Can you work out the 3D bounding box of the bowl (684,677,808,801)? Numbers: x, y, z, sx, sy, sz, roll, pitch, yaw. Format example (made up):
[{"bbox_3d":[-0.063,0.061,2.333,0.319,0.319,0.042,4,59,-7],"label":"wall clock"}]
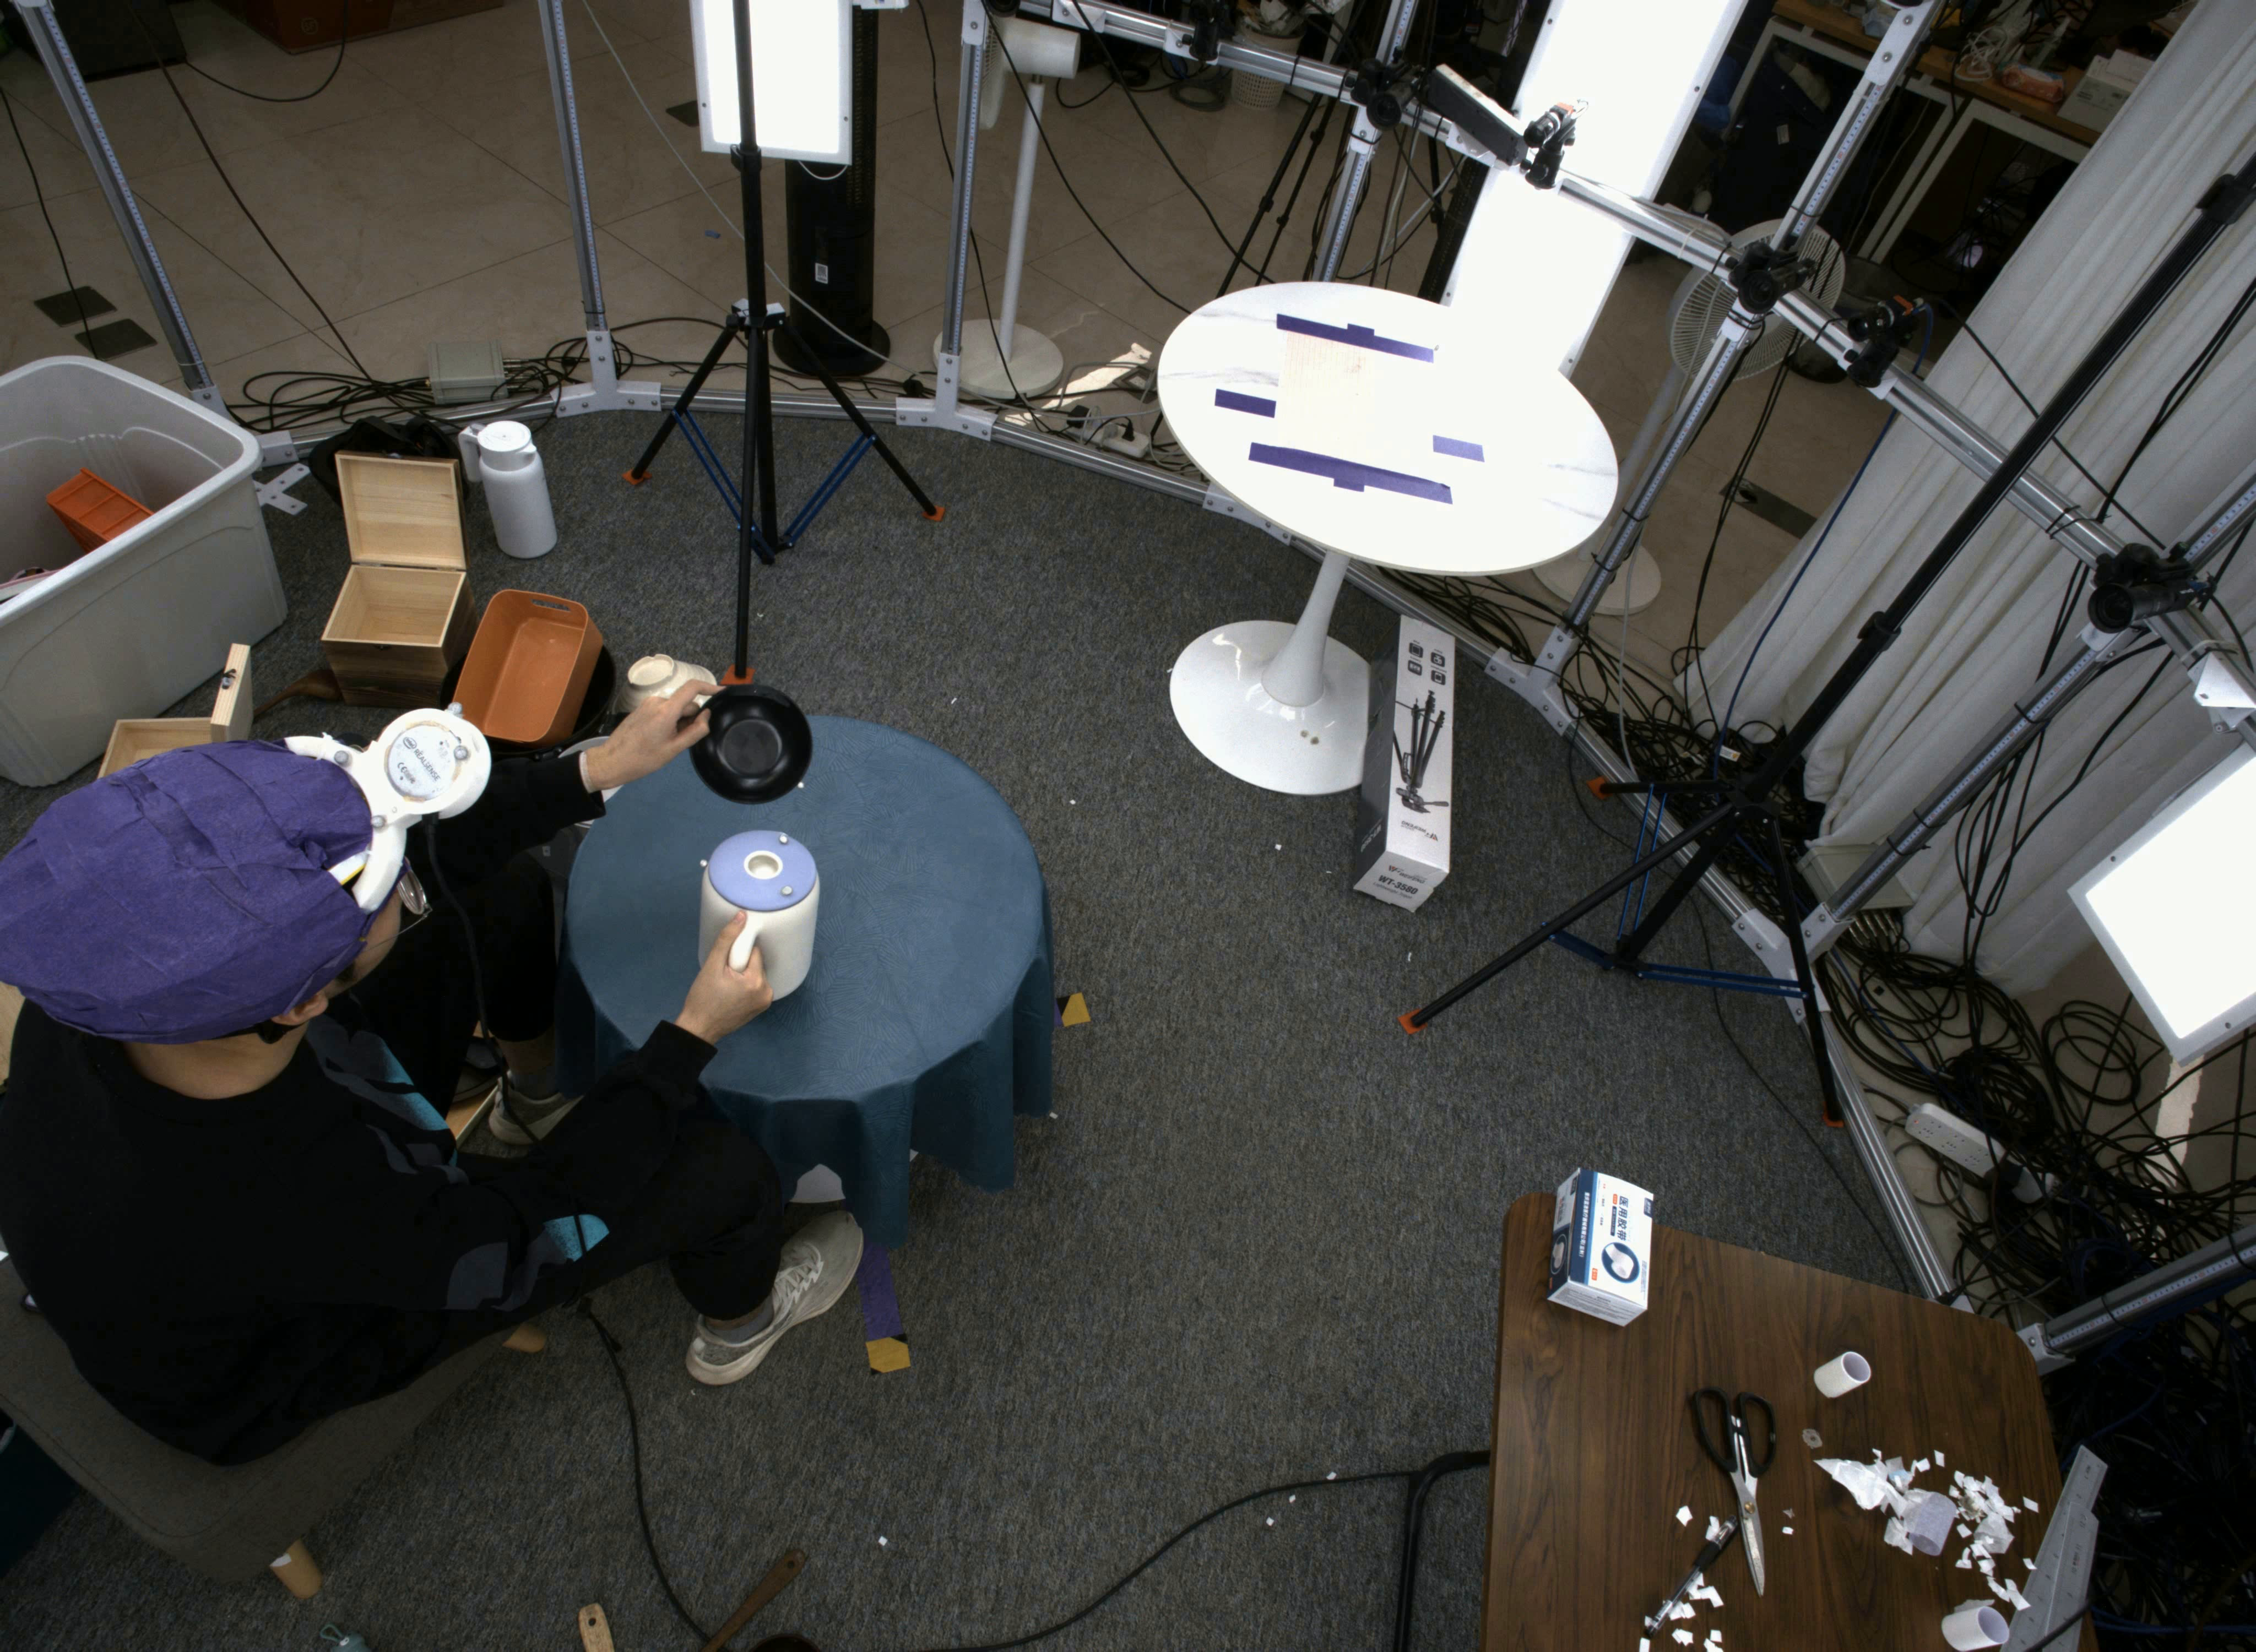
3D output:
[{"bbox_3d":[-0.440,-0.098,1.490,0.140,0.049,0.141,0,90,-17],"label":"bowl"}]

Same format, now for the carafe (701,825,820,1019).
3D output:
[{"bbox_3d":[-0.426,0.120,1.479,0.132,0.186,0.187,10,47,-9],"label":"carafe"}]
